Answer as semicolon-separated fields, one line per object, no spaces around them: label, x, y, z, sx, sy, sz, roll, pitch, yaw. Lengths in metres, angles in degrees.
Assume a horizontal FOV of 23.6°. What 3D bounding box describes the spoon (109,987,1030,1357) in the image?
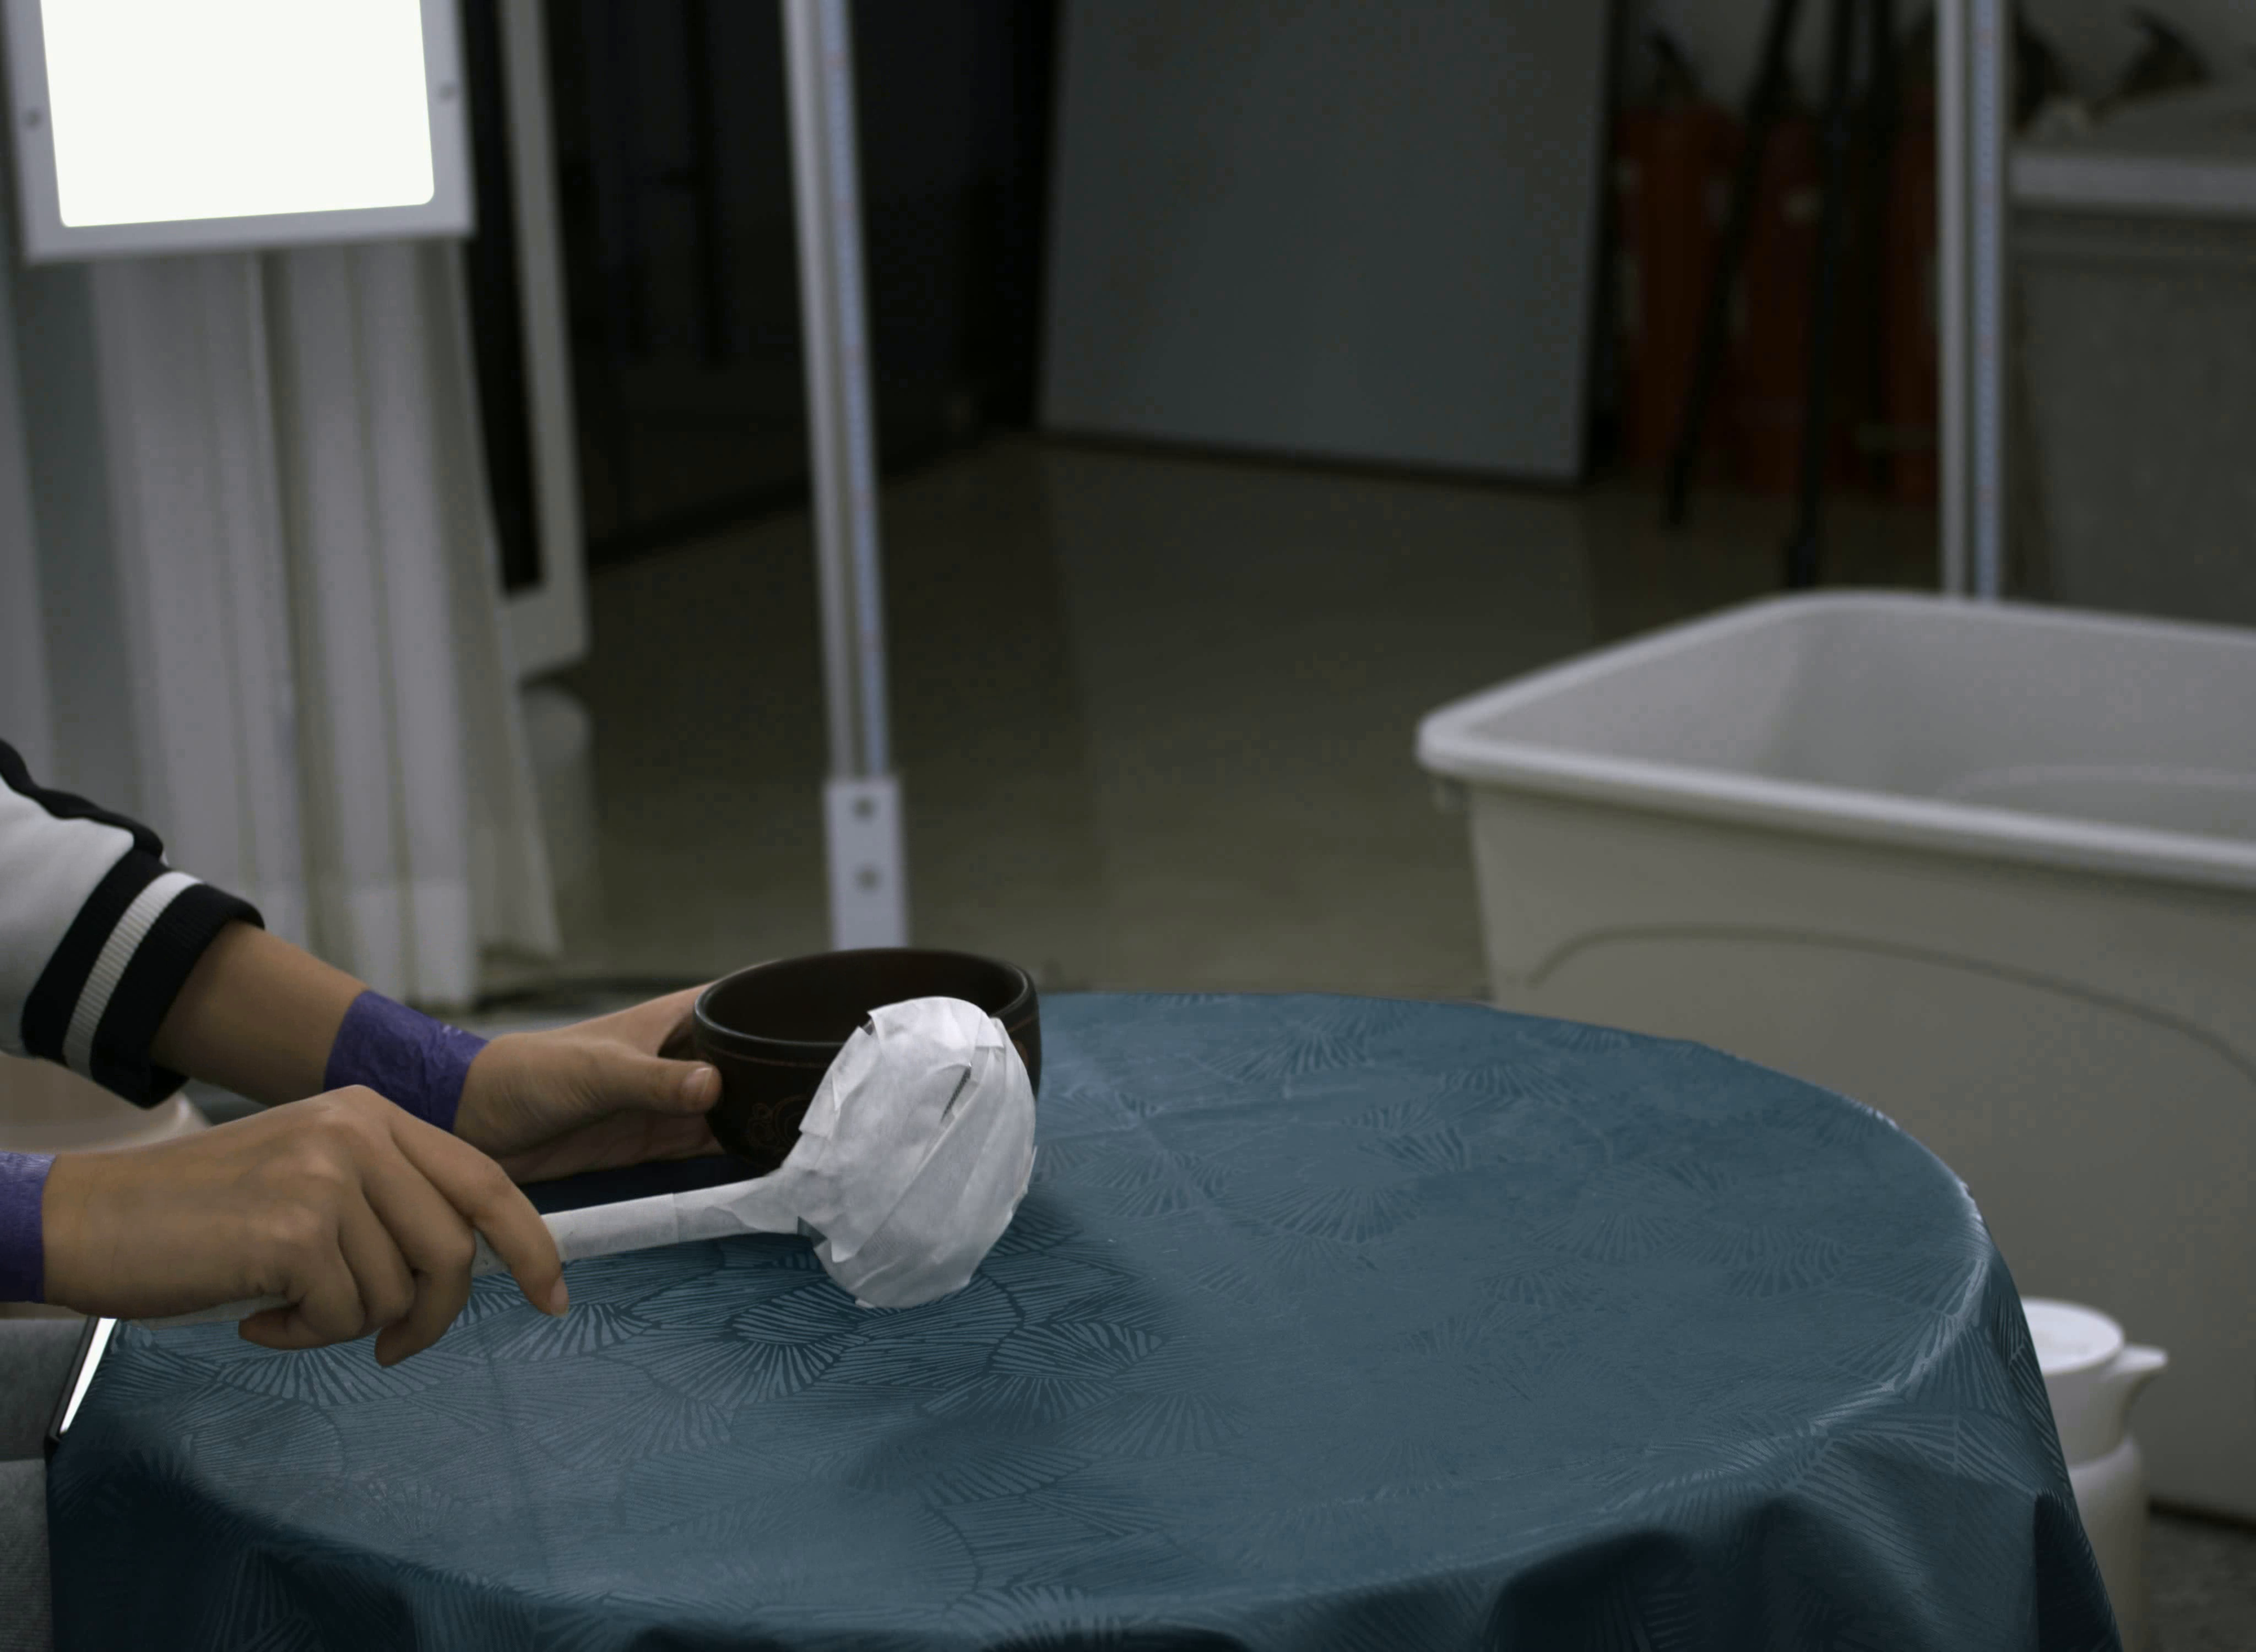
spoon;-0.157;0.117;1.570;0.273;0.102;0.059;-11;10;-7

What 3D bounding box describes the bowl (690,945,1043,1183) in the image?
bowl;-0.085;0.087;1.779;0.116;0.070;0.118;-4;13;0
